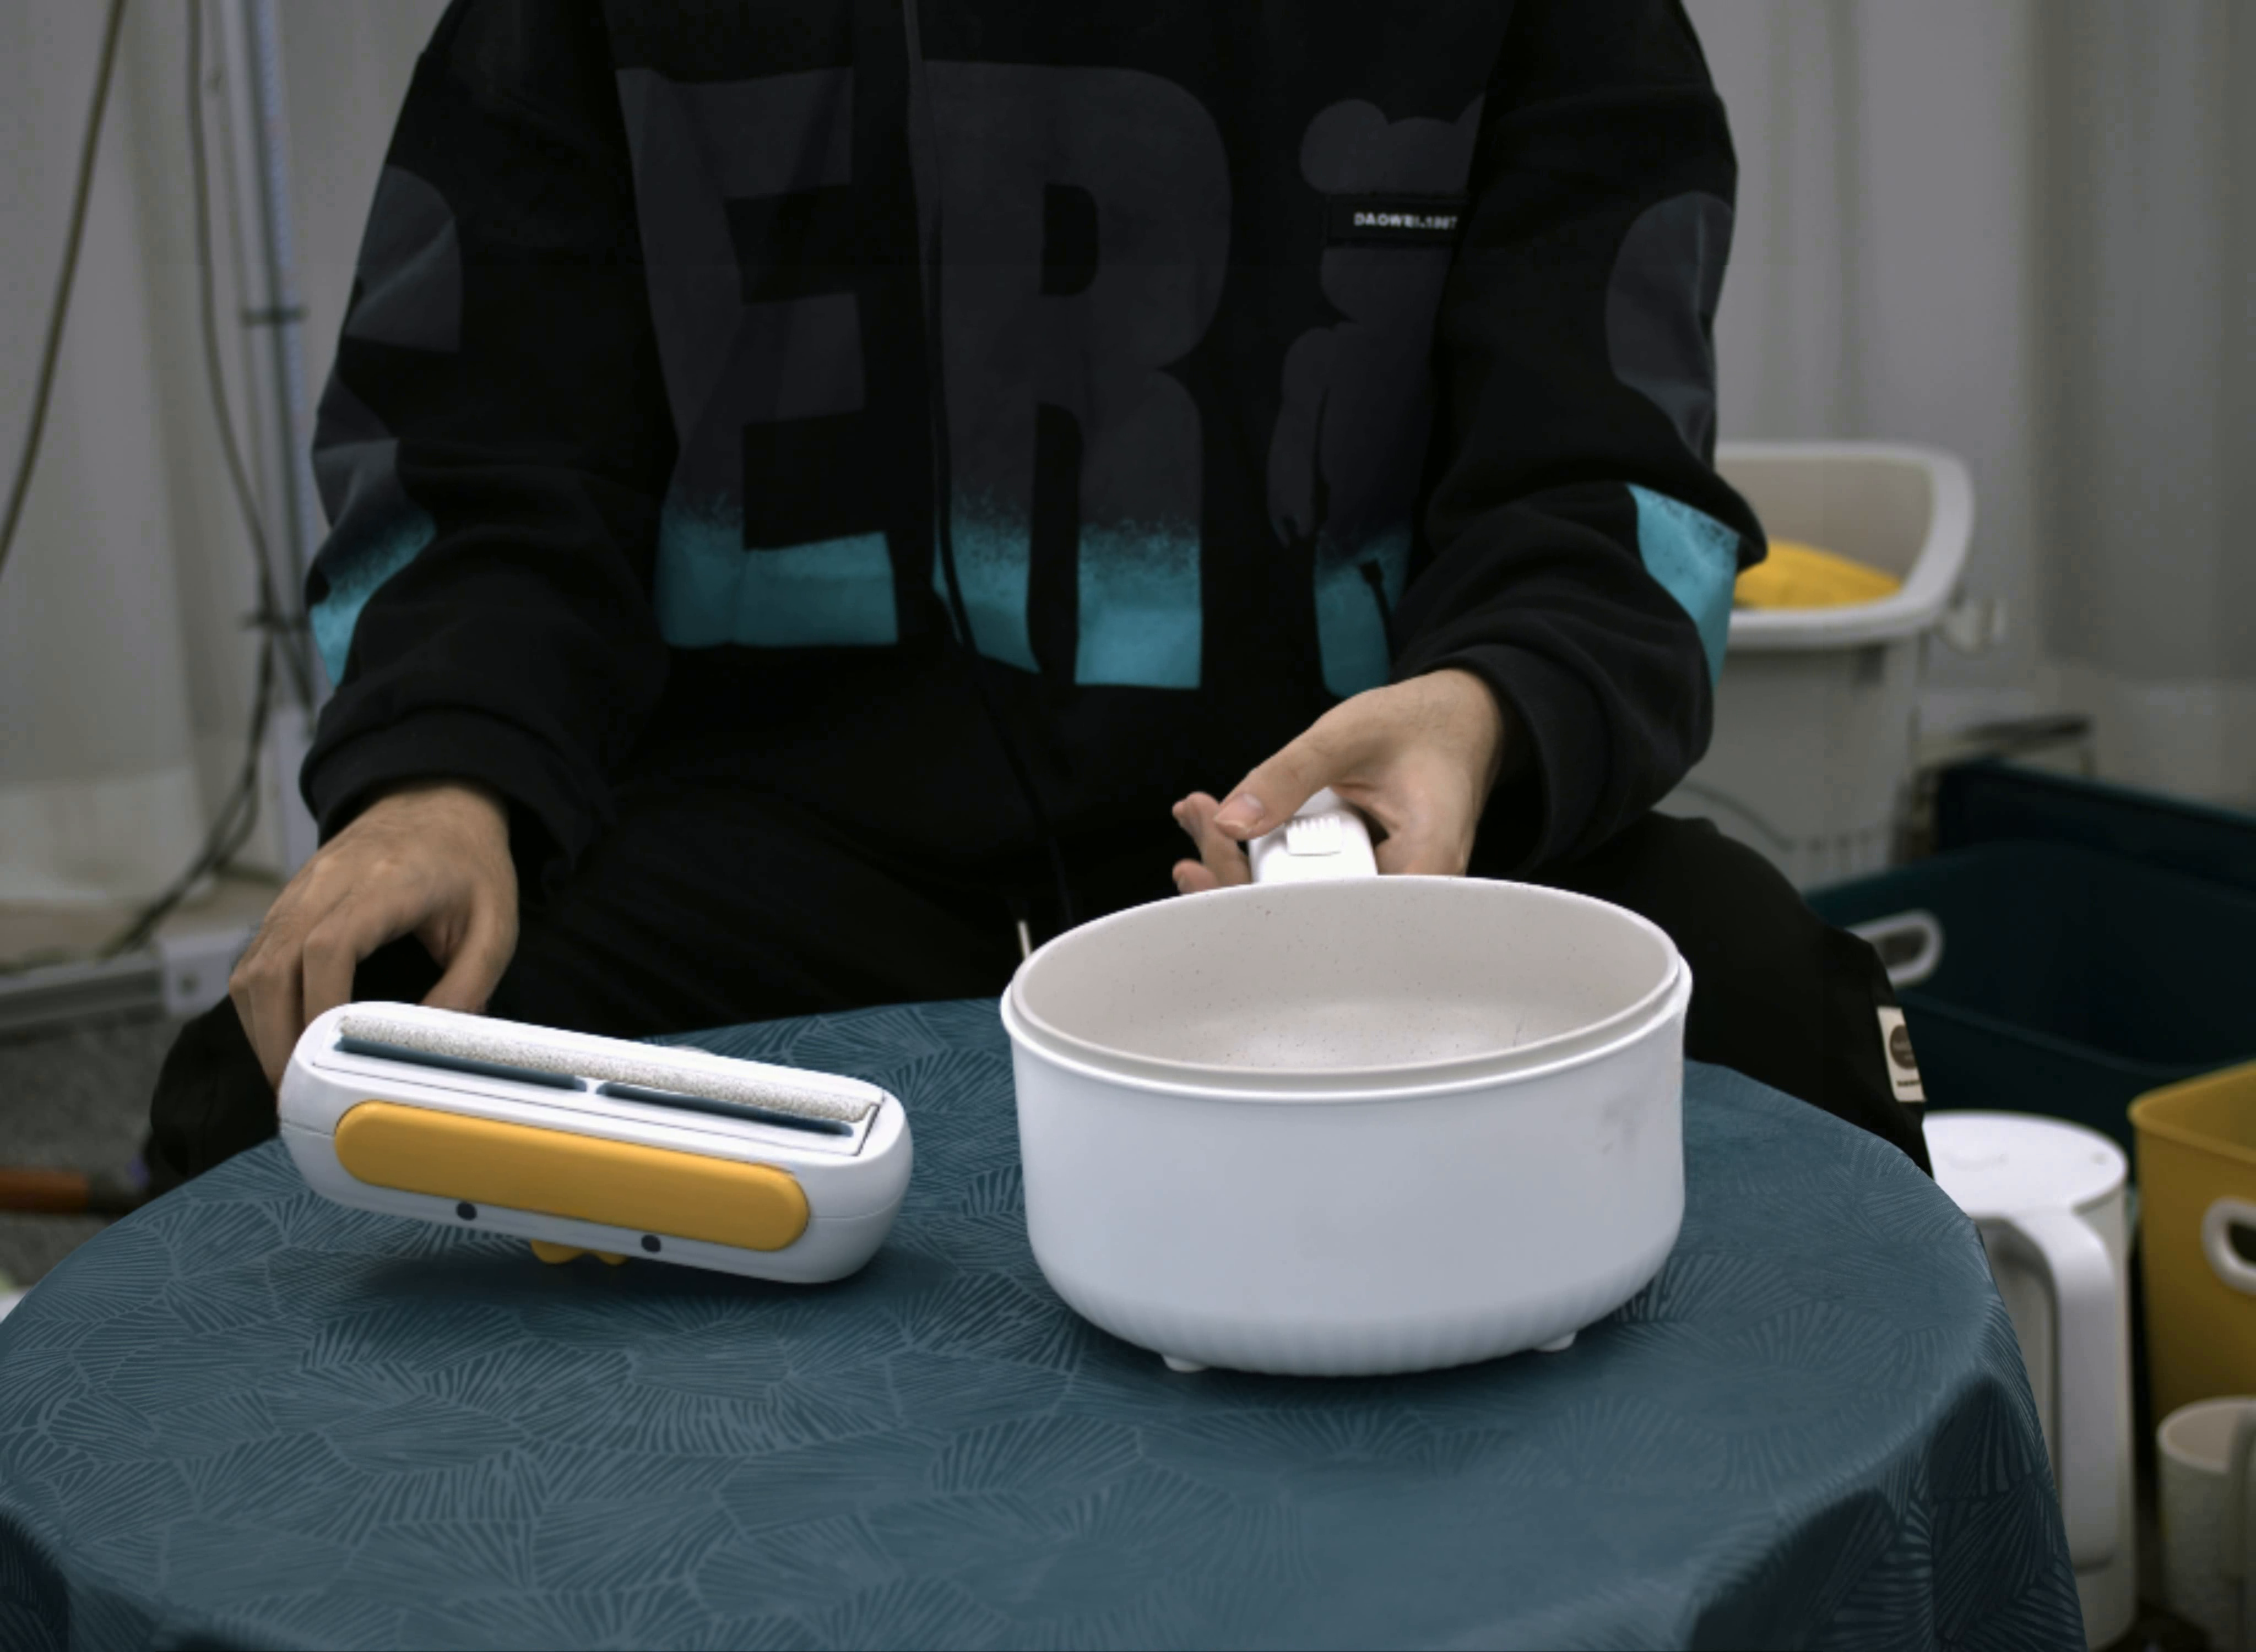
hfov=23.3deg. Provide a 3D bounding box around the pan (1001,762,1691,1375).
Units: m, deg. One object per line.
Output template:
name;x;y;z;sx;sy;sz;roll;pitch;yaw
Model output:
pan;0.063;0.070;1.674;0.200;0.102;0.357;-3;15;-1

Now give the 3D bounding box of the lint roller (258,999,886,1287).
lint roller;-0.157;0.088;1.716;0.192;0.074;0.193;5;15;11
